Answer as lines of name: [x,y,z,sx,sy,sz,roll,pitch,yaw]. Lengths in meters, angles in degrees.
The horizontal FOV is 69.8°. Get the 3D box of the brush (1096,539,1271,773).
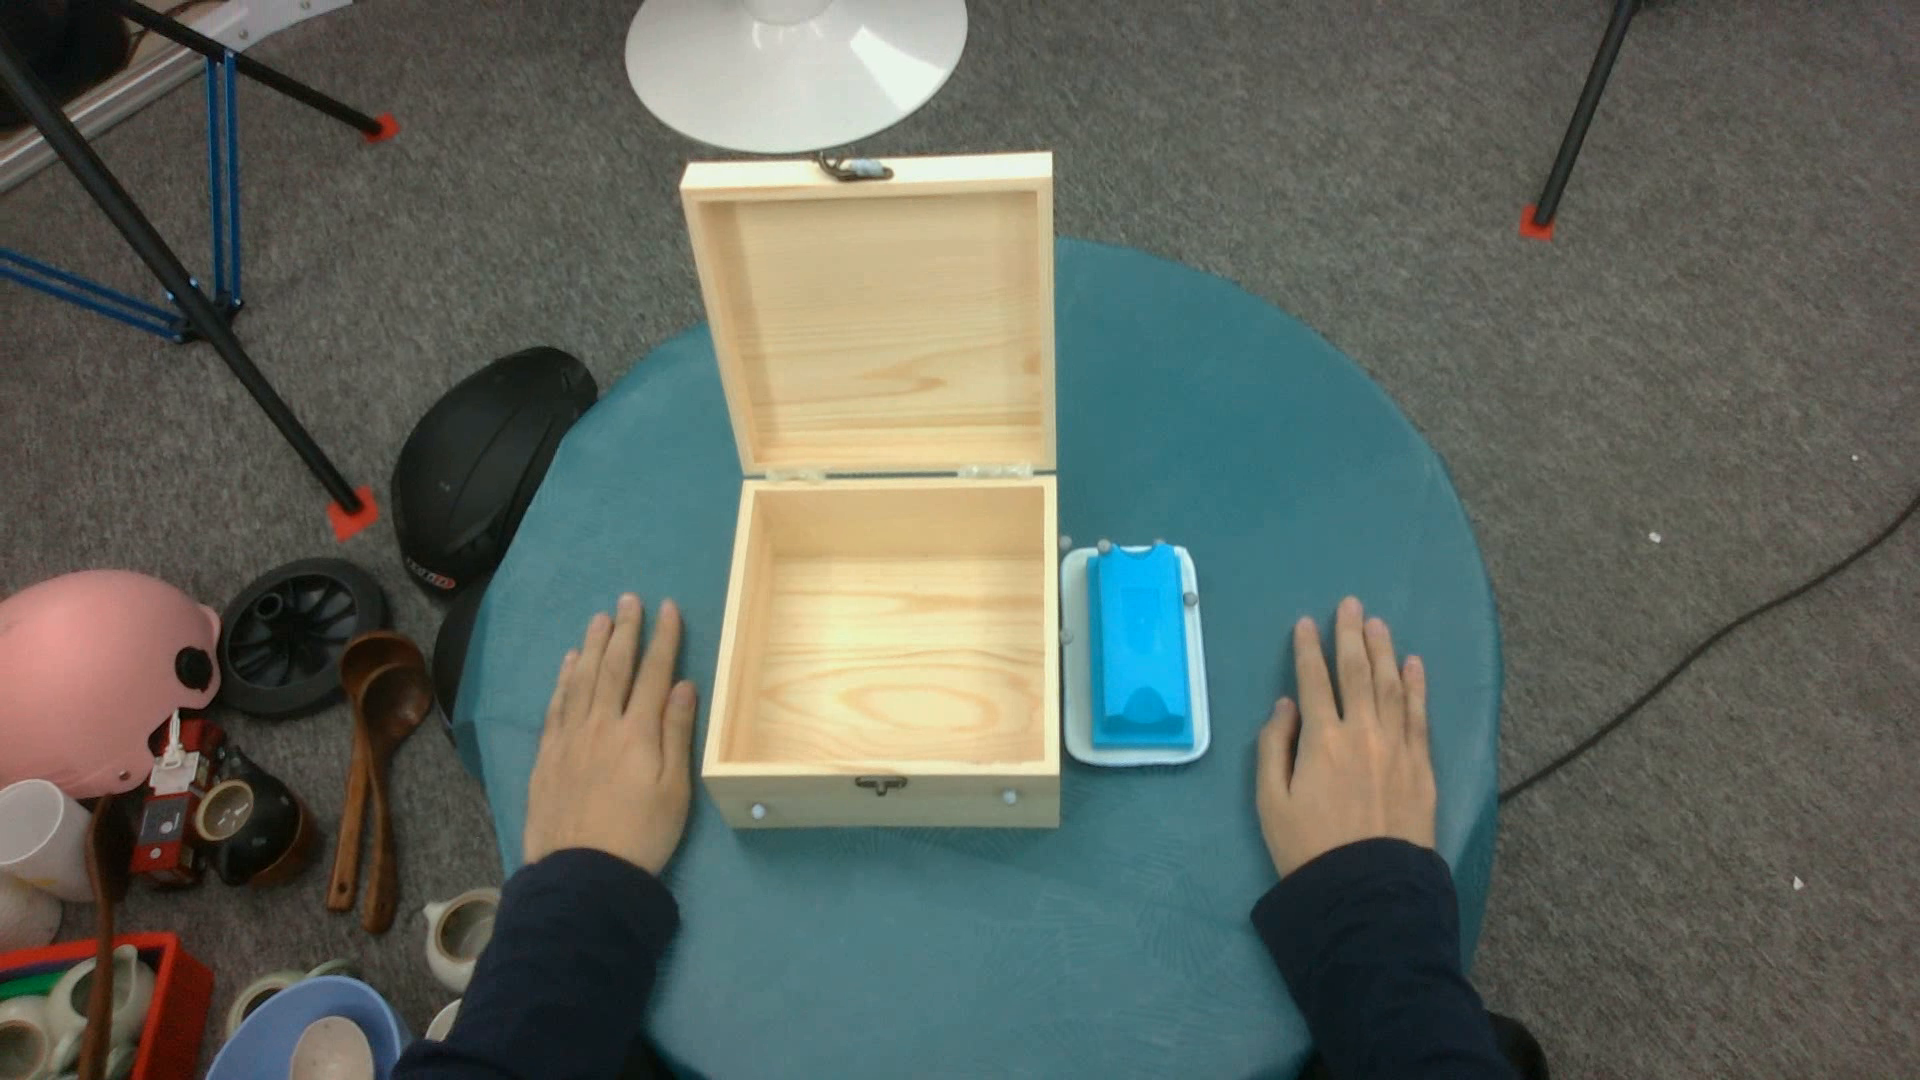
brush: [0.121,0.058,0.784,0.084,0.056,0.144,-14,52,7]

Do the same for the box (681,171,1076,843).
box: [-0.037,-0.006,0.722,0.181,0.252,0.266,-3,57,5]
